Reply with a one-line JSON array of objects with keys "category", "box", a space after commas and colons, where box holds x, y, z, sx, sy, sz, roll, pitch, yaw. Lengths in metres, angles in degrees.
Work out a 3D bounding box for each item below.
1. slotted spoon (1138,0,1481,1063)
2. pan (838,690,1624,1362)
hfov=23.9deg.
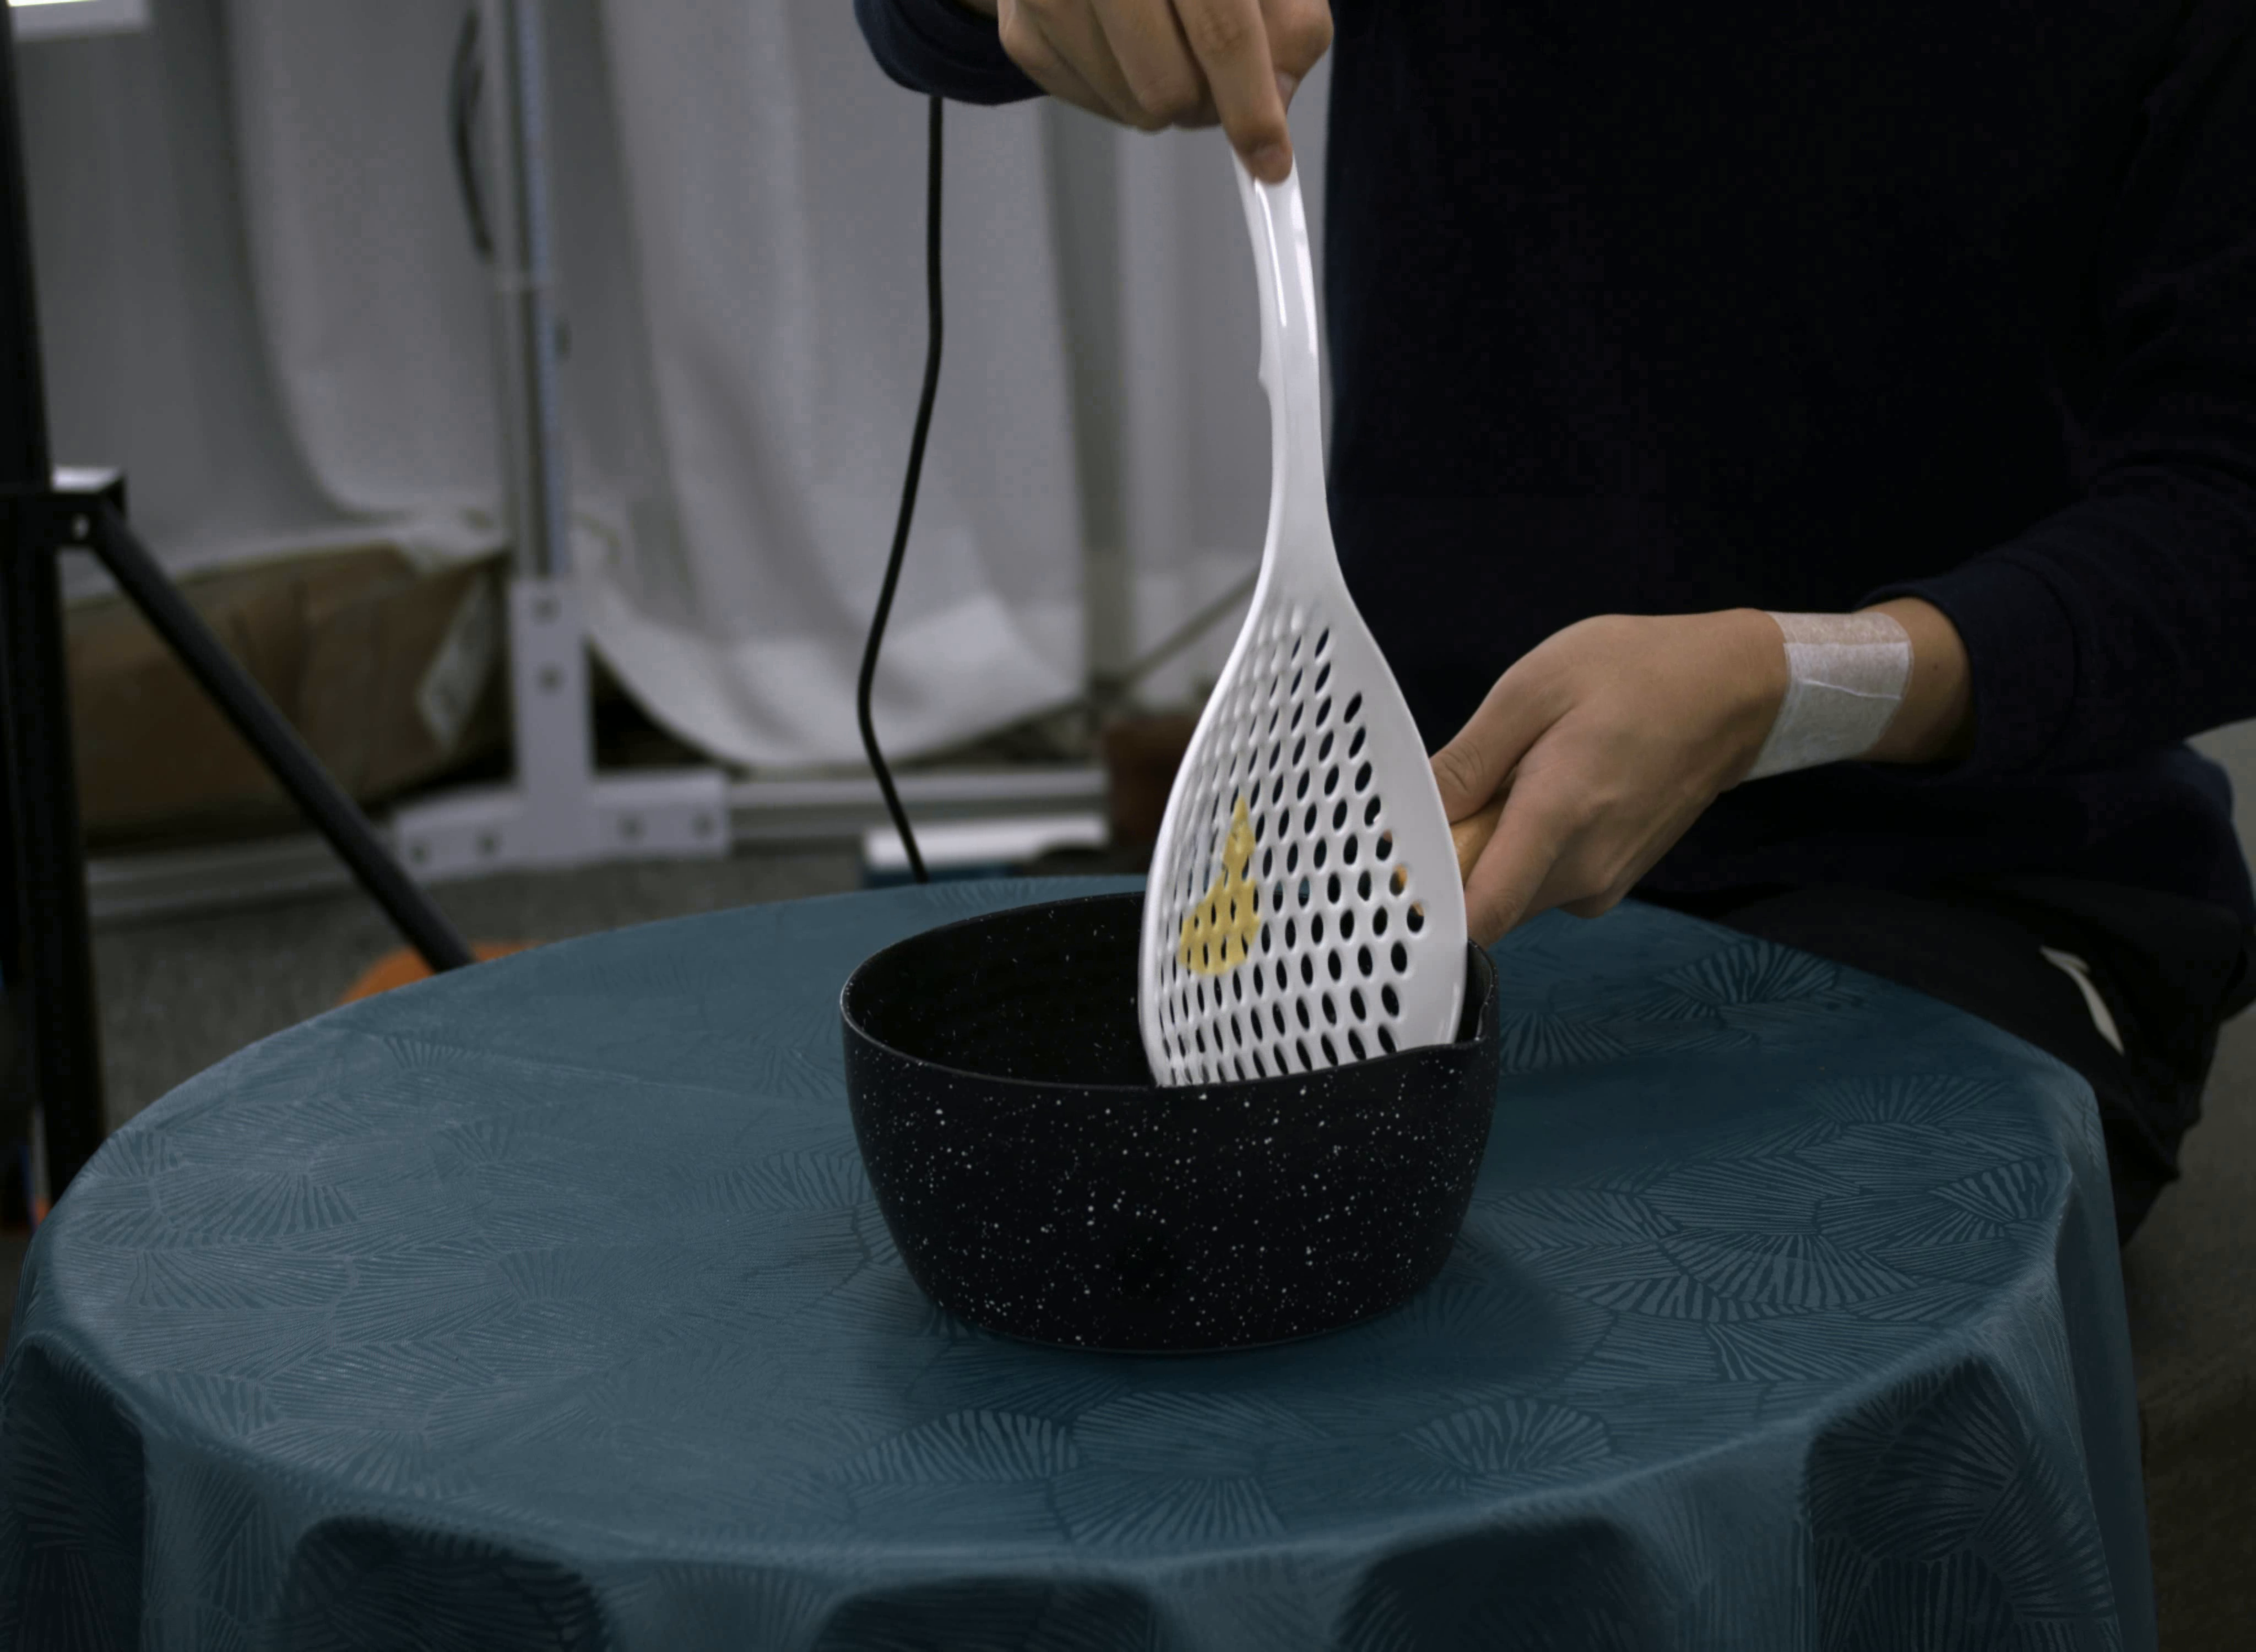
[{"category": "slotted spoon", "box": [0.038, -0.067, 1.434, 0.051, 0.348, 0.134, 15, 22, 42]}, {"category": "pan", "box": [0.054, 0.053, 1.545, 0.211, 0.108, 0.336, 6, 19, 33]}]
